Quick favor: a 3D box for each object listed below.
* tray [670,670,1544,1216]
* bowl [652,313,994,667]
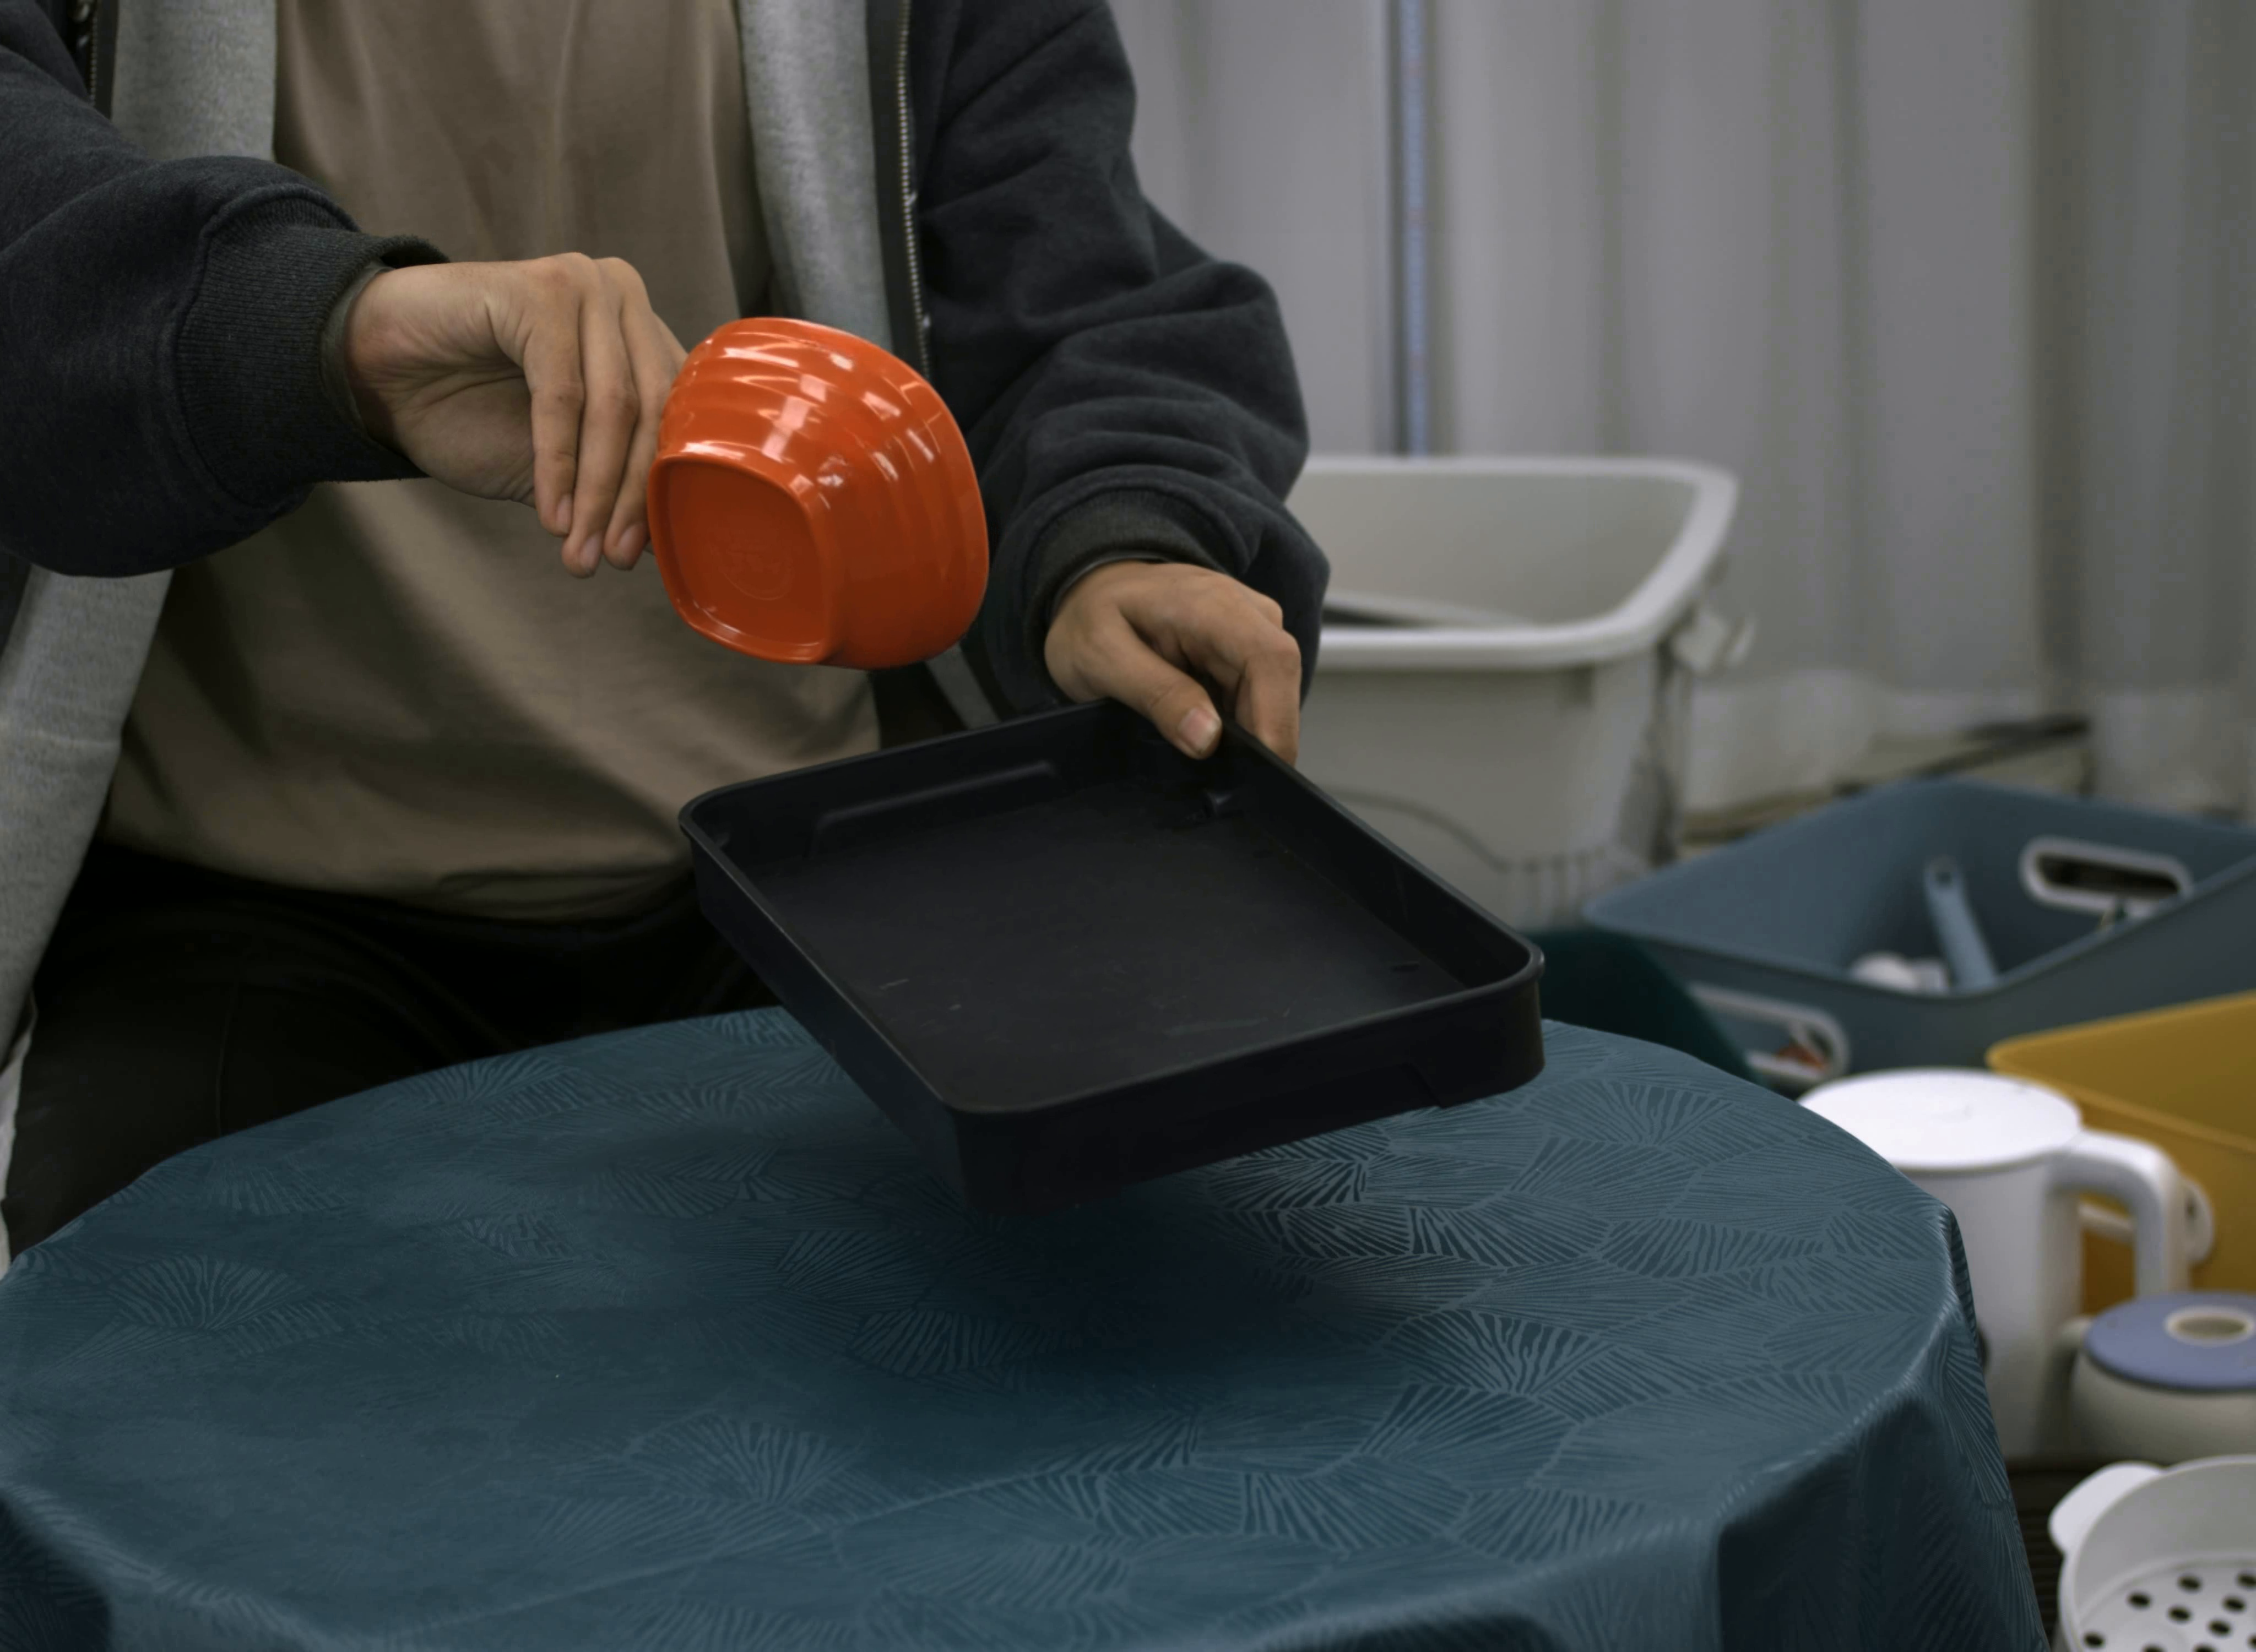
[{"bbox_3d":[-0.013,0.029,1.674,0.183,0.037,0.321,-13,22,-17],"label":"tray"},{"bbox_3d":[-0.098,-0.091,1.618,0.119,0.118,0.051,9,35,38],"label":"bowl"}]
